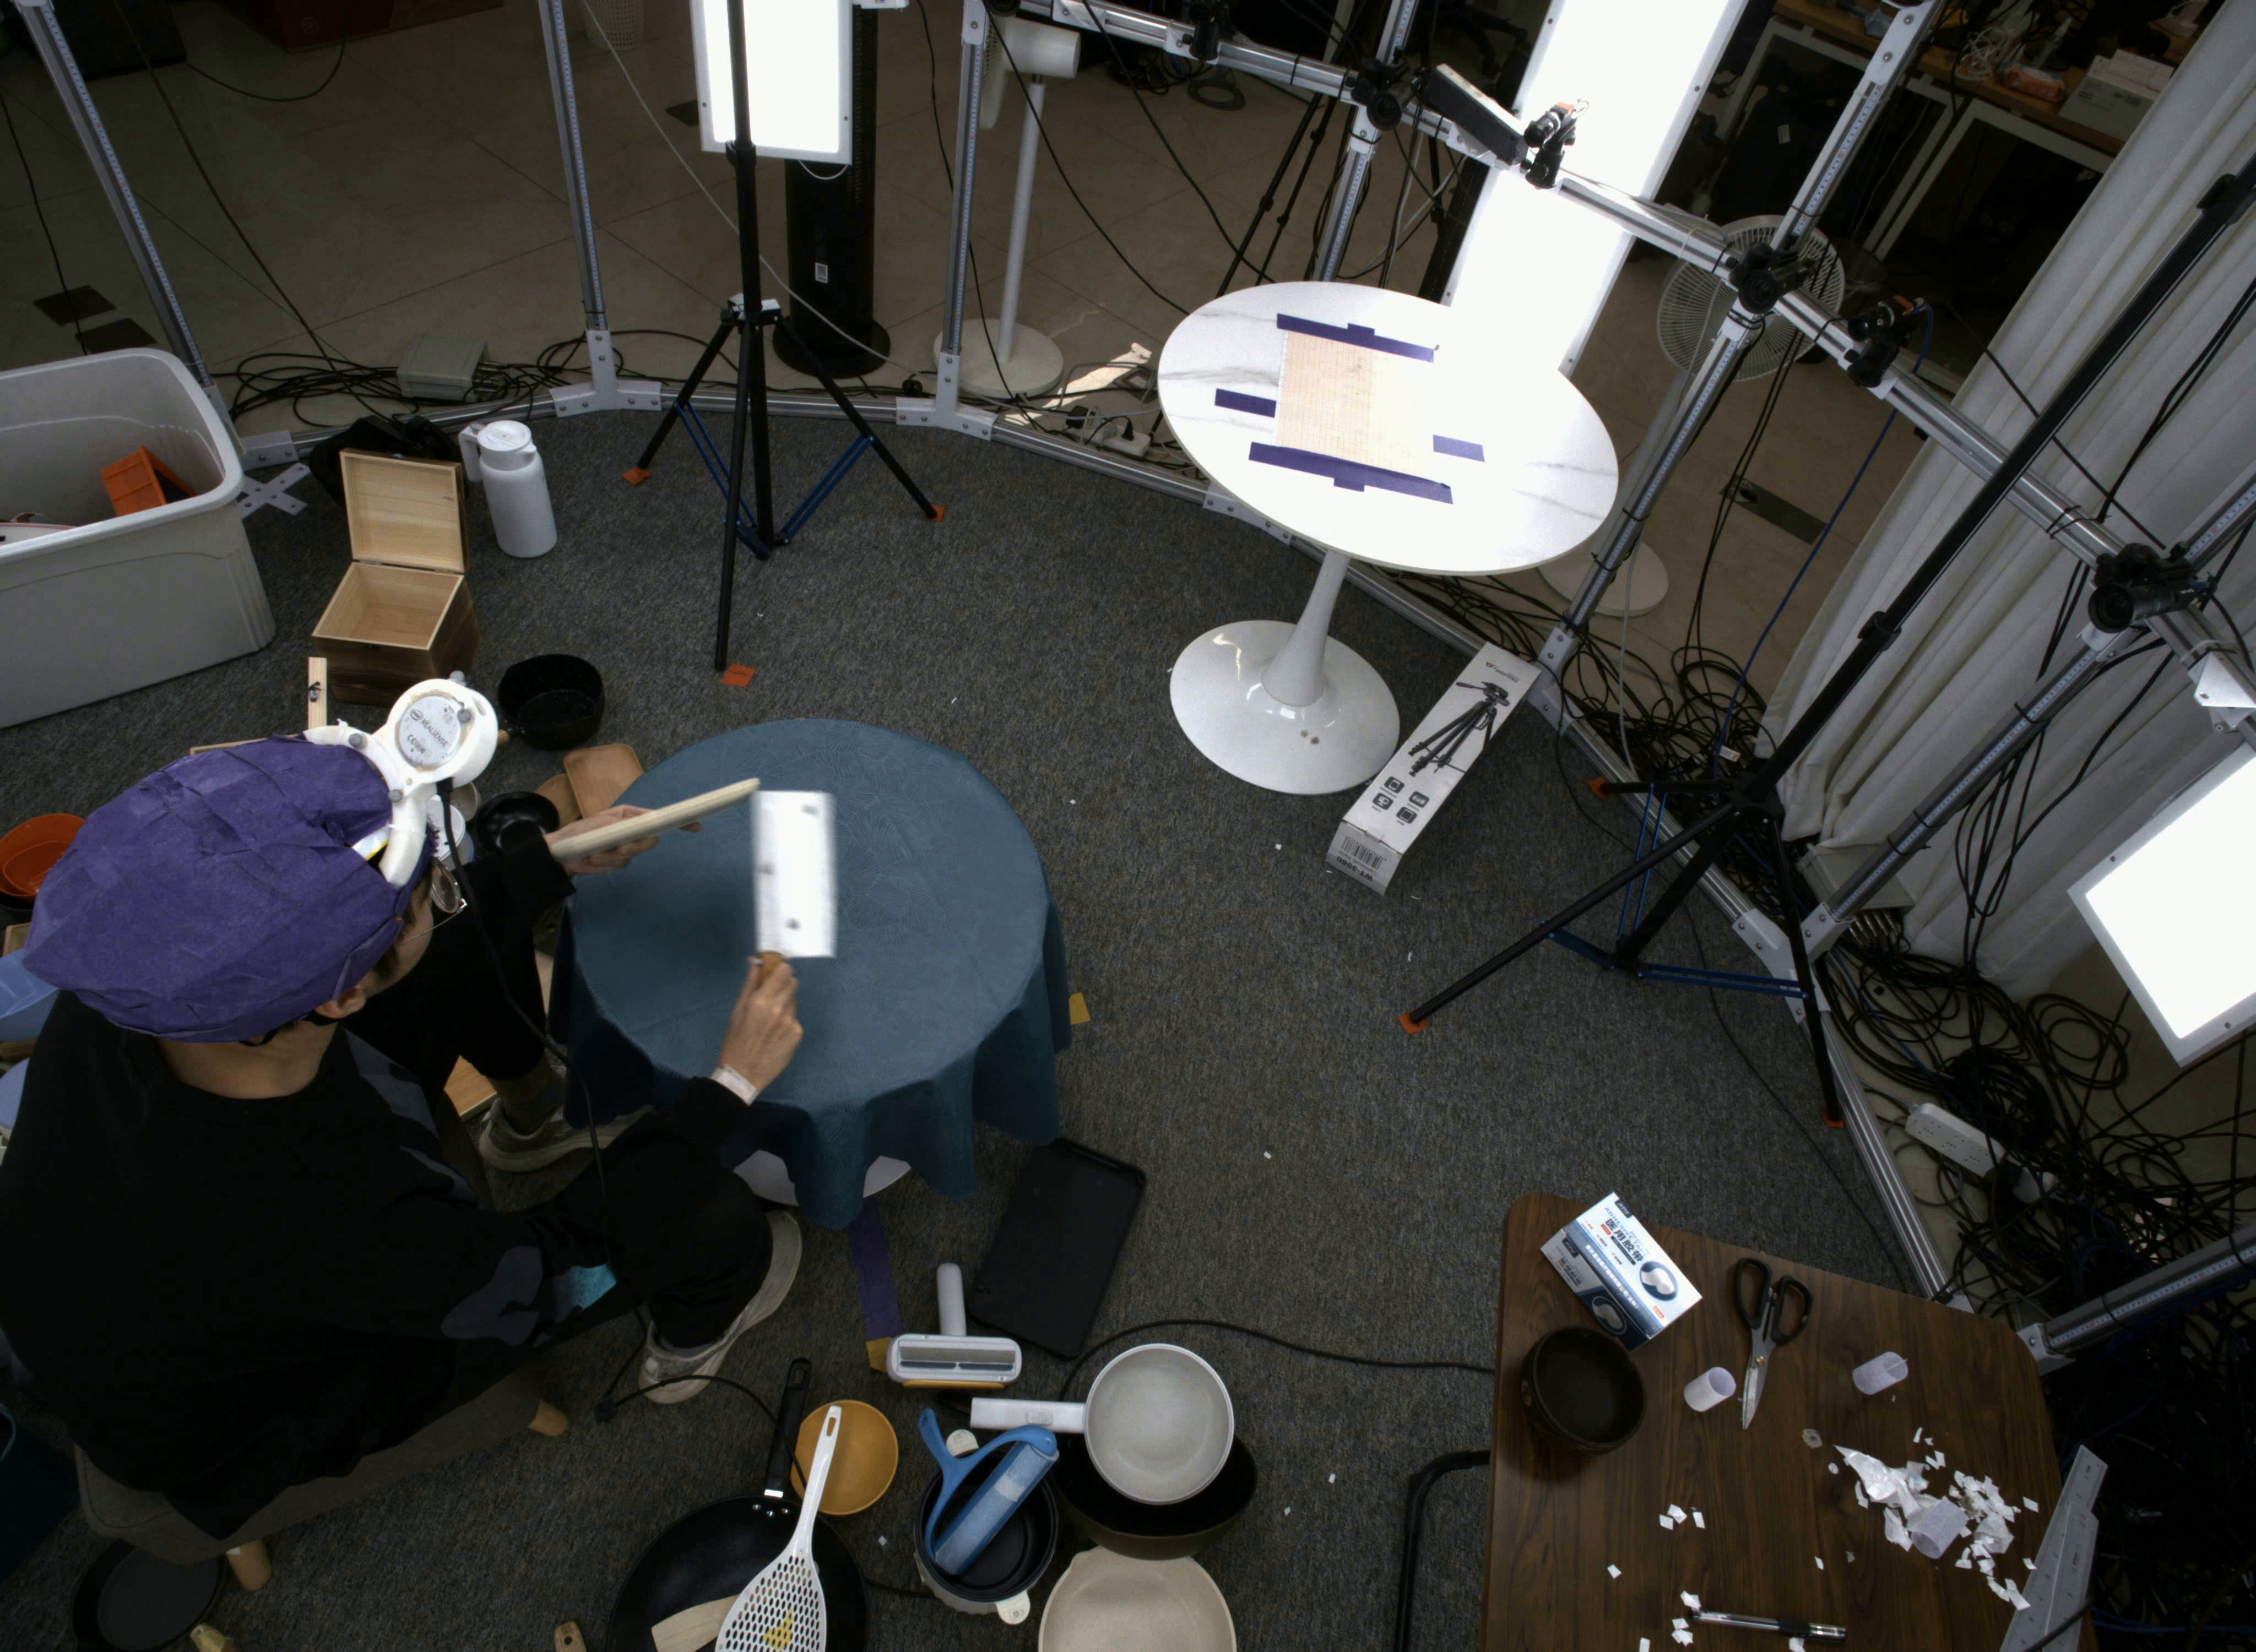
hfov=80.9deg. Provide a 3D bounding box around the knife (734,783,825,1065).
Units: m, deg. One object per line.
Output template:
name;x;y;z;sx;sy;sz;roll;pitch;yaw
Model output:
knife;-0.384;0.105;1.446;0.094;0.020;0.309;-5;91;-38

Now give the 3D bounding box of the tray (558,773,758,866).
tray;-0.537;-0.007;1.457;0.240;0.168;0.018;-22;94;-24
